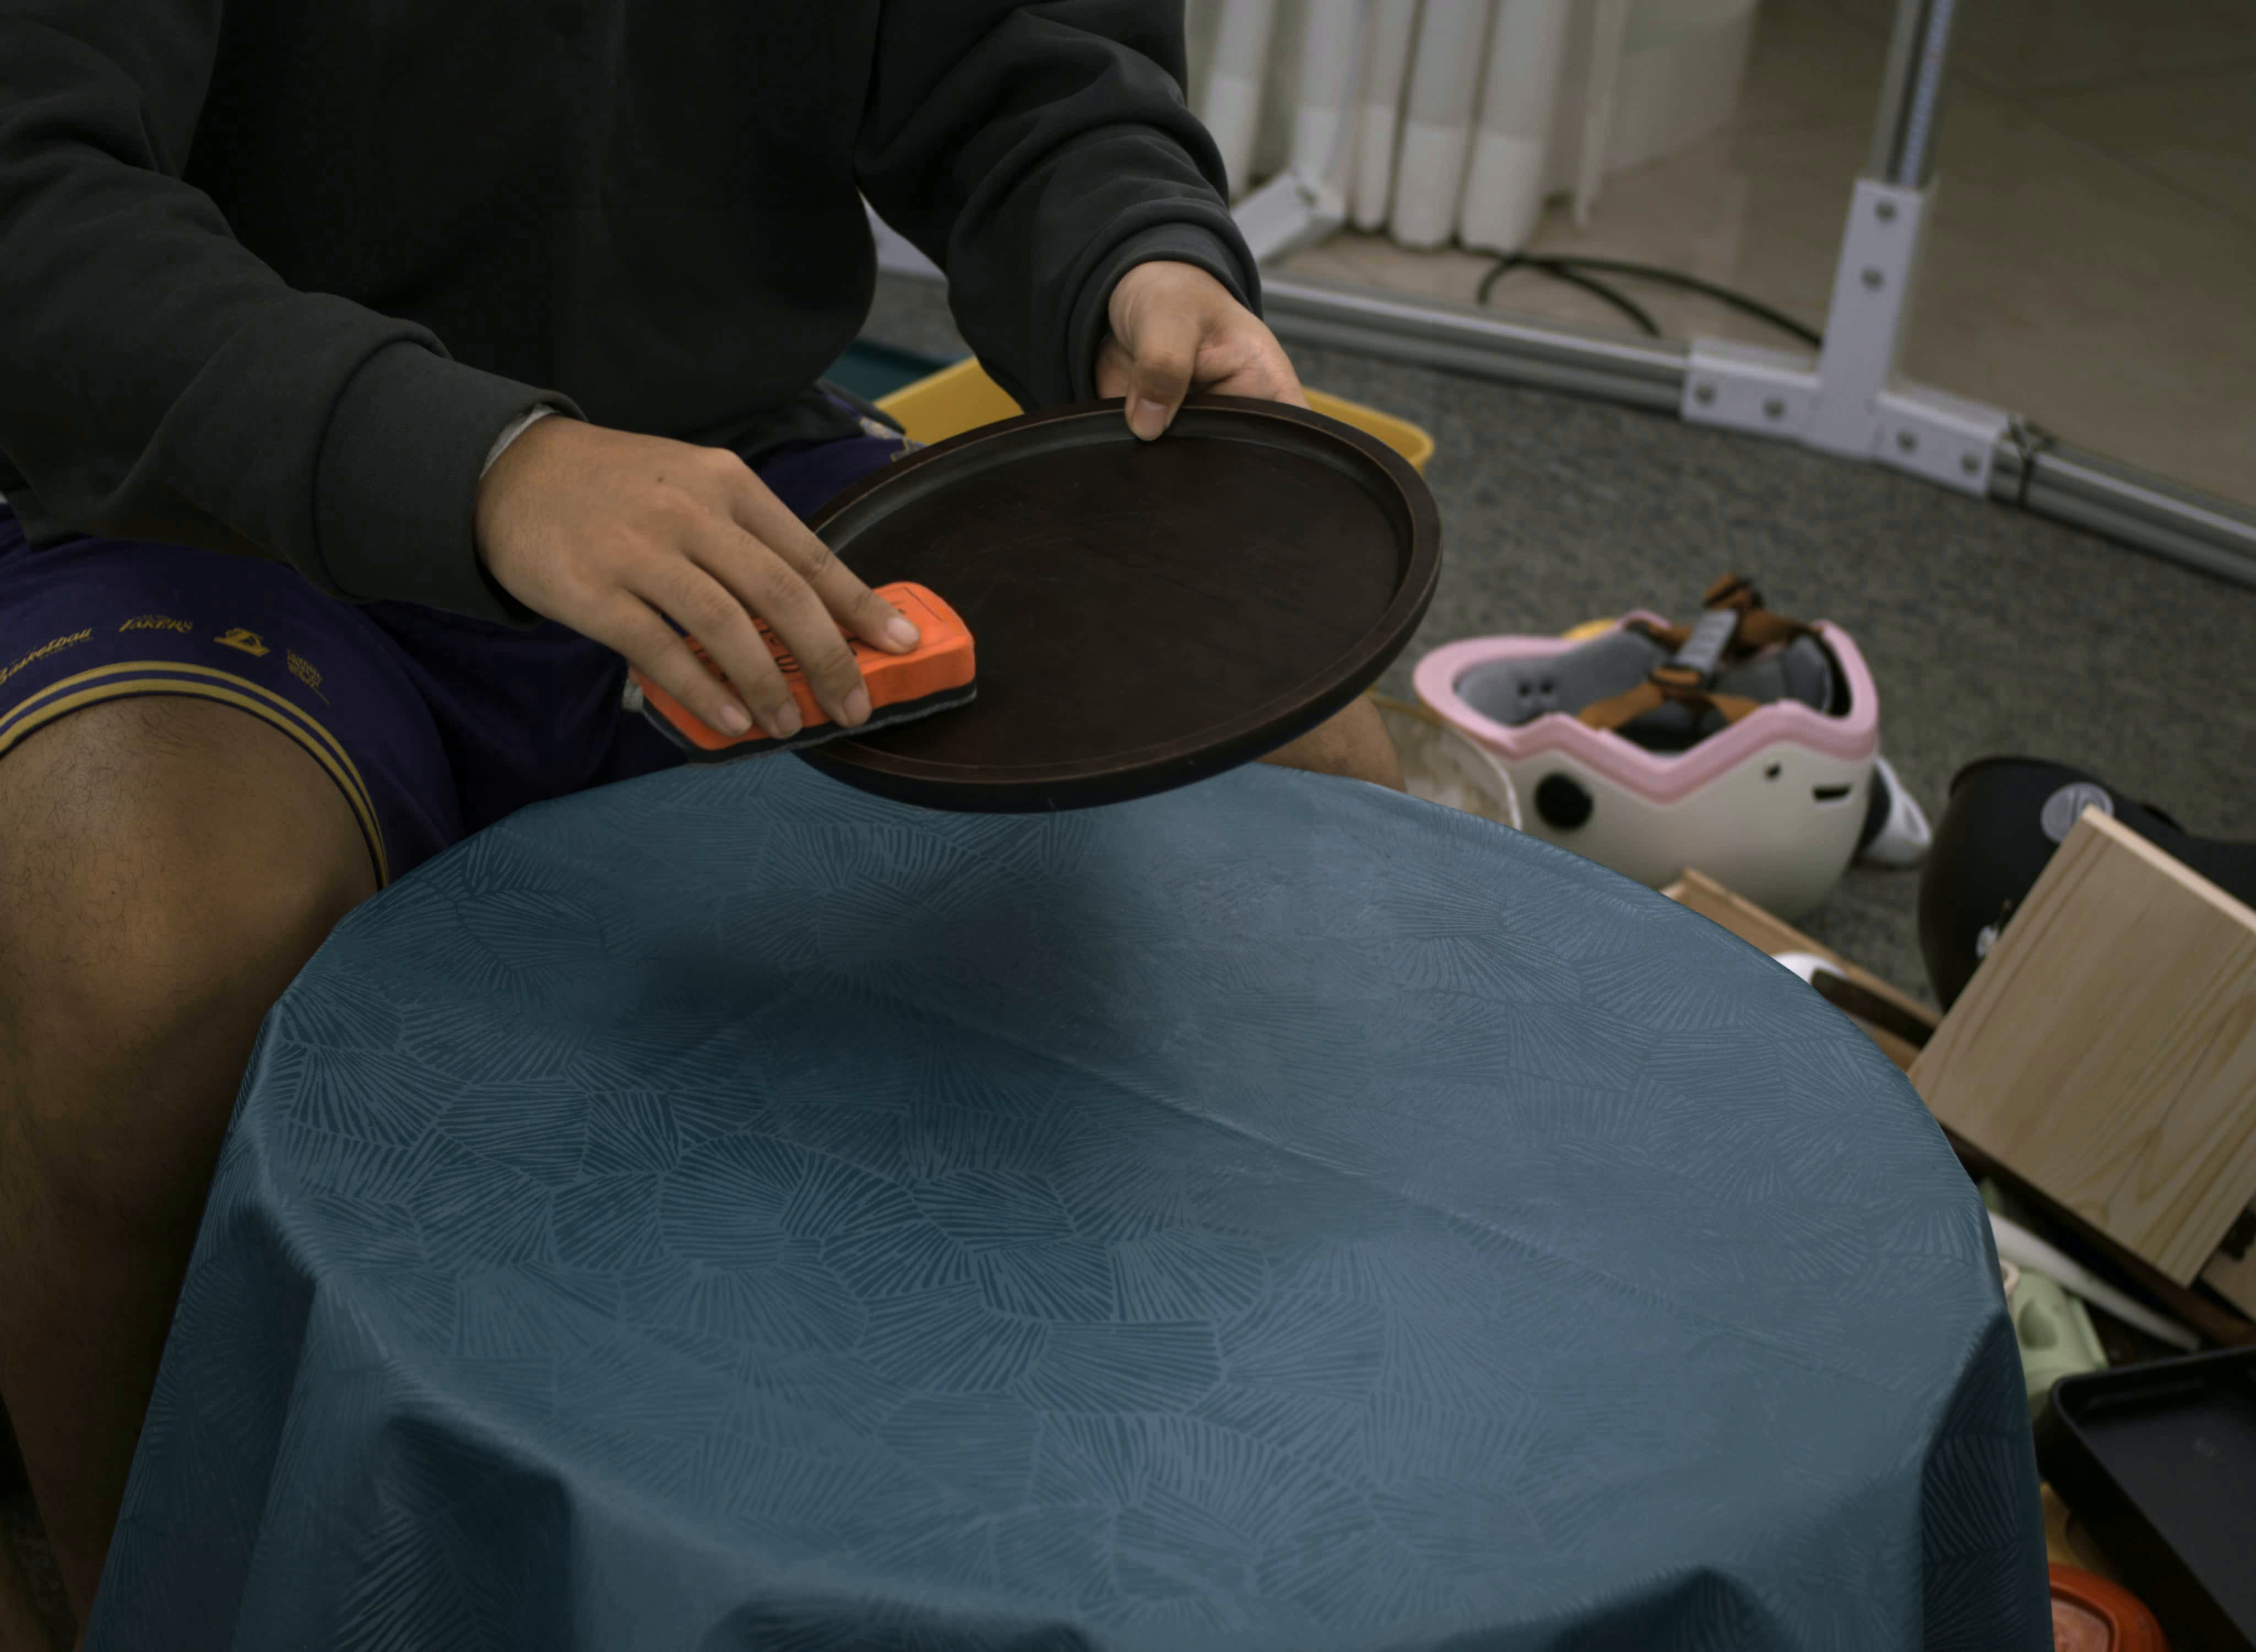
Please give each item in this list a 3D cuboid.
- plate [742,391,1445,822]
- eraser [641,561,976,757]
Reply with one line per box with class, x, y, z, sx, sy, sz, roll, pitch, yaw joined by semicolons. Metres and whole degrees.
plate;-0.013;-0.079;1.869;0.254;0.029;0.256;-10;33;6
eraser;-0.109;-0.058;1.824;0.107;0.023;0.059;-16;36;-21
